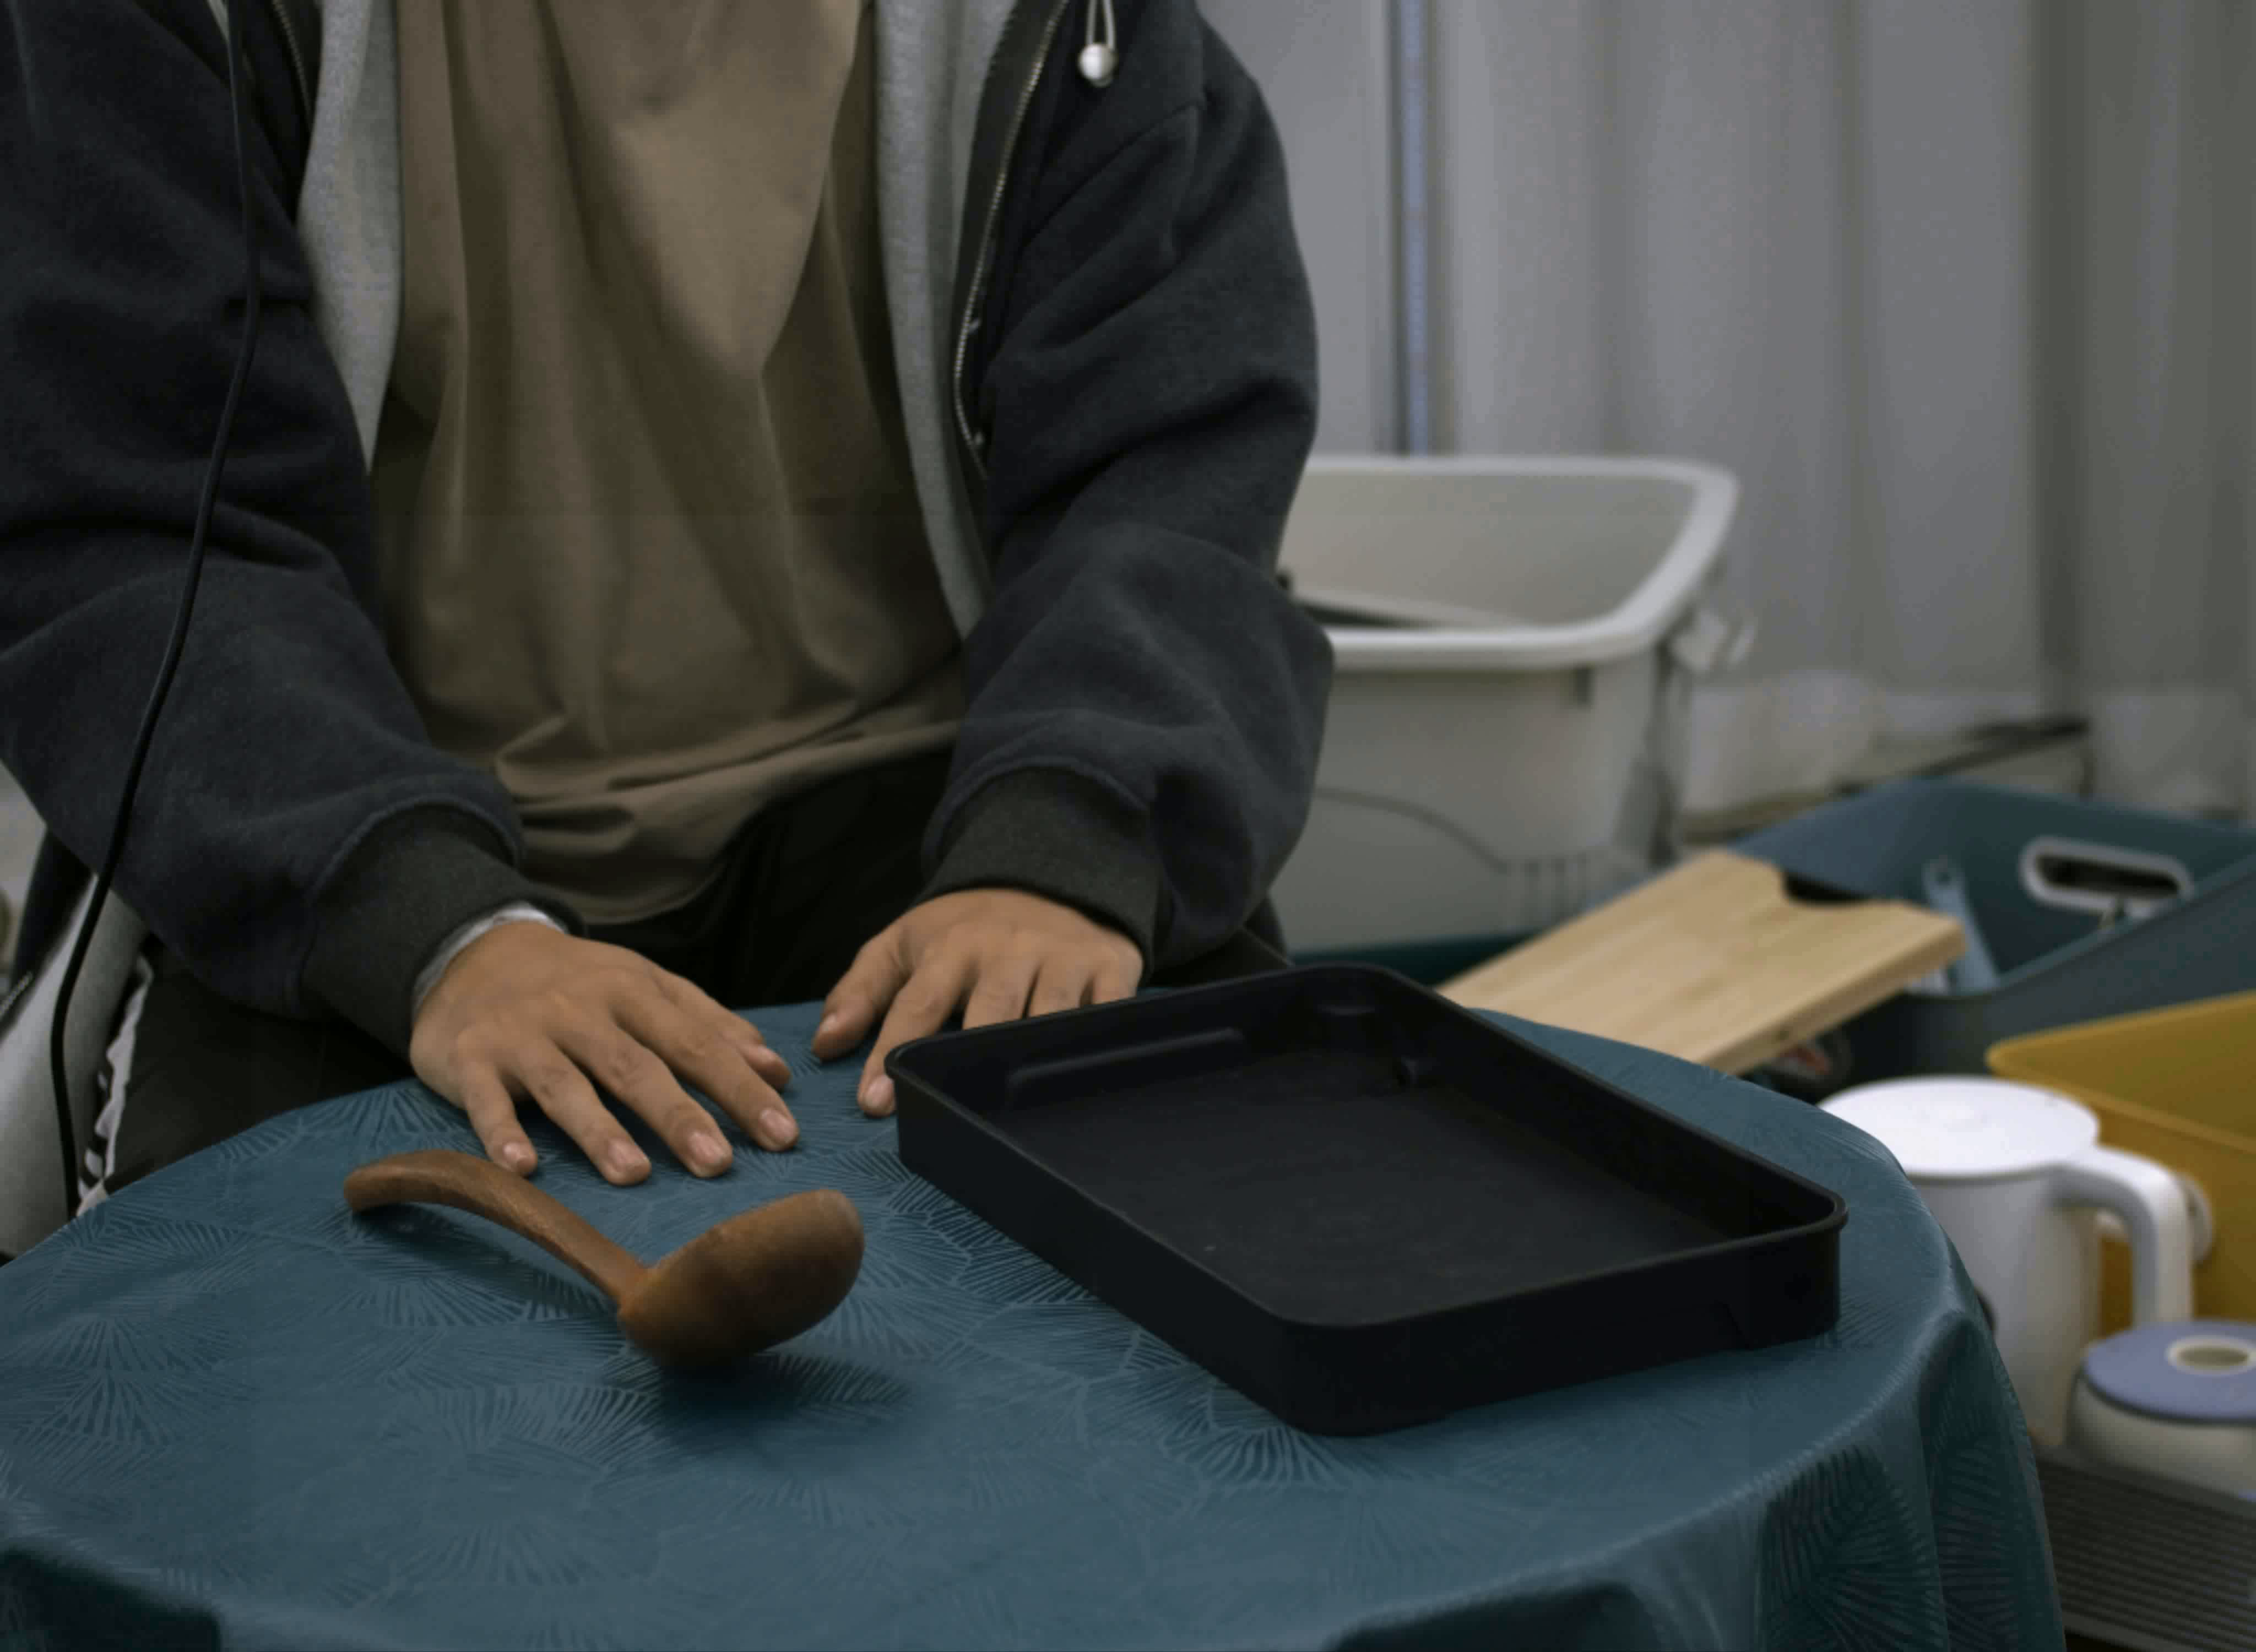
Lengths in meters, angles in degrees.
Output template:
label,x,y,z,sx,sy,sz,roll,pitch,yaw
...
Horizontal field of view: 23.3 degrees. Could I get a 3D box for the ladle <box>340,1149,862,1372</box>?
label,x,y,z,sx,sy,sz,roll,pitch,yaw
ladle,-0.168,0.112,1.634,0.076,0.065,0.262,-13,18,-34

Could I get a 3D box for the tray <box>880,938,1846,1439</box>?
label,x,y,z,sx,sy,sz,roll,pitch,yaw
tray,0.064,0.104,1.664,0.183,0.037,0.320,-10,18,-23
